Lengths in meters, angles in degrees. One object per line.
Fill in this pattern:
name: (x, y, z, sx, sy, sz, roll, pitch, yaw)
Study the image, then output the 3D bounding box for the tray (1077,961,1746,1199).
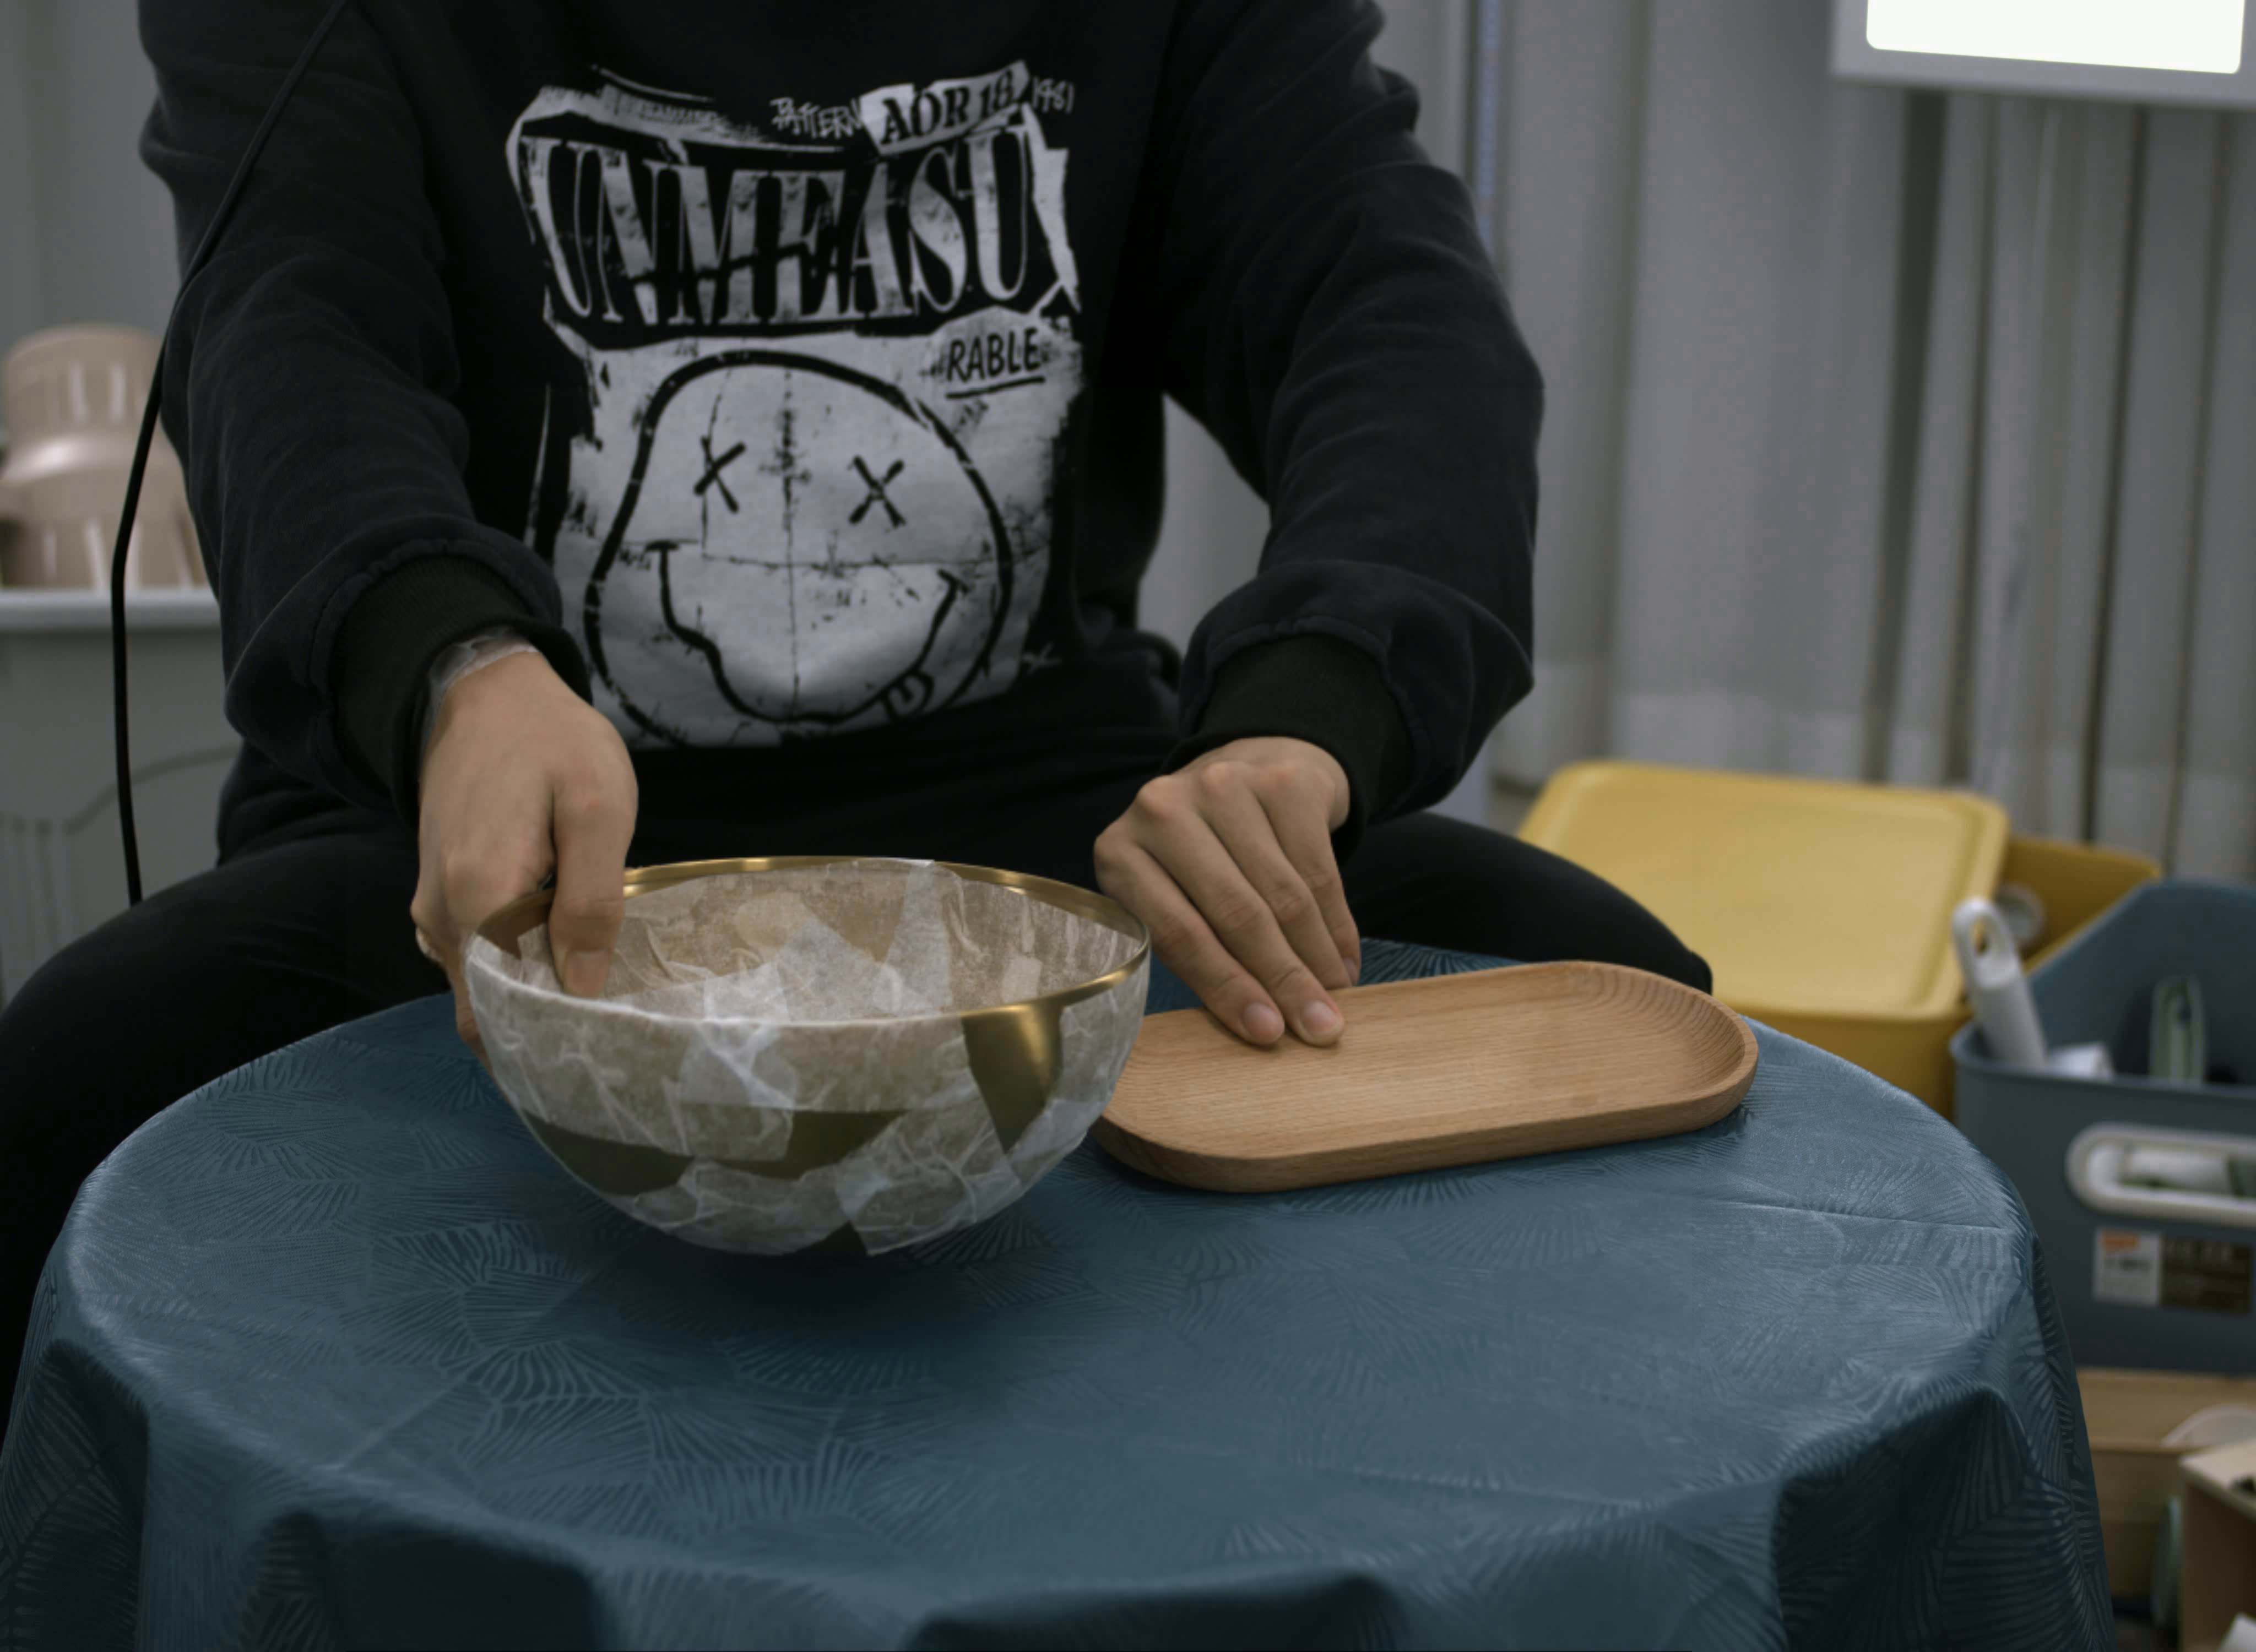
tray: (0.090, 0.081, 1.686, 0.232, 0.020, 0.100, -9, 27, -23)

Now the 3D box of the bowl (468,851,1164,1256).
bowl: (-0.089, 0.073, 1.553, 0.214, 0.095, 0.214, 0, 13, 0)
